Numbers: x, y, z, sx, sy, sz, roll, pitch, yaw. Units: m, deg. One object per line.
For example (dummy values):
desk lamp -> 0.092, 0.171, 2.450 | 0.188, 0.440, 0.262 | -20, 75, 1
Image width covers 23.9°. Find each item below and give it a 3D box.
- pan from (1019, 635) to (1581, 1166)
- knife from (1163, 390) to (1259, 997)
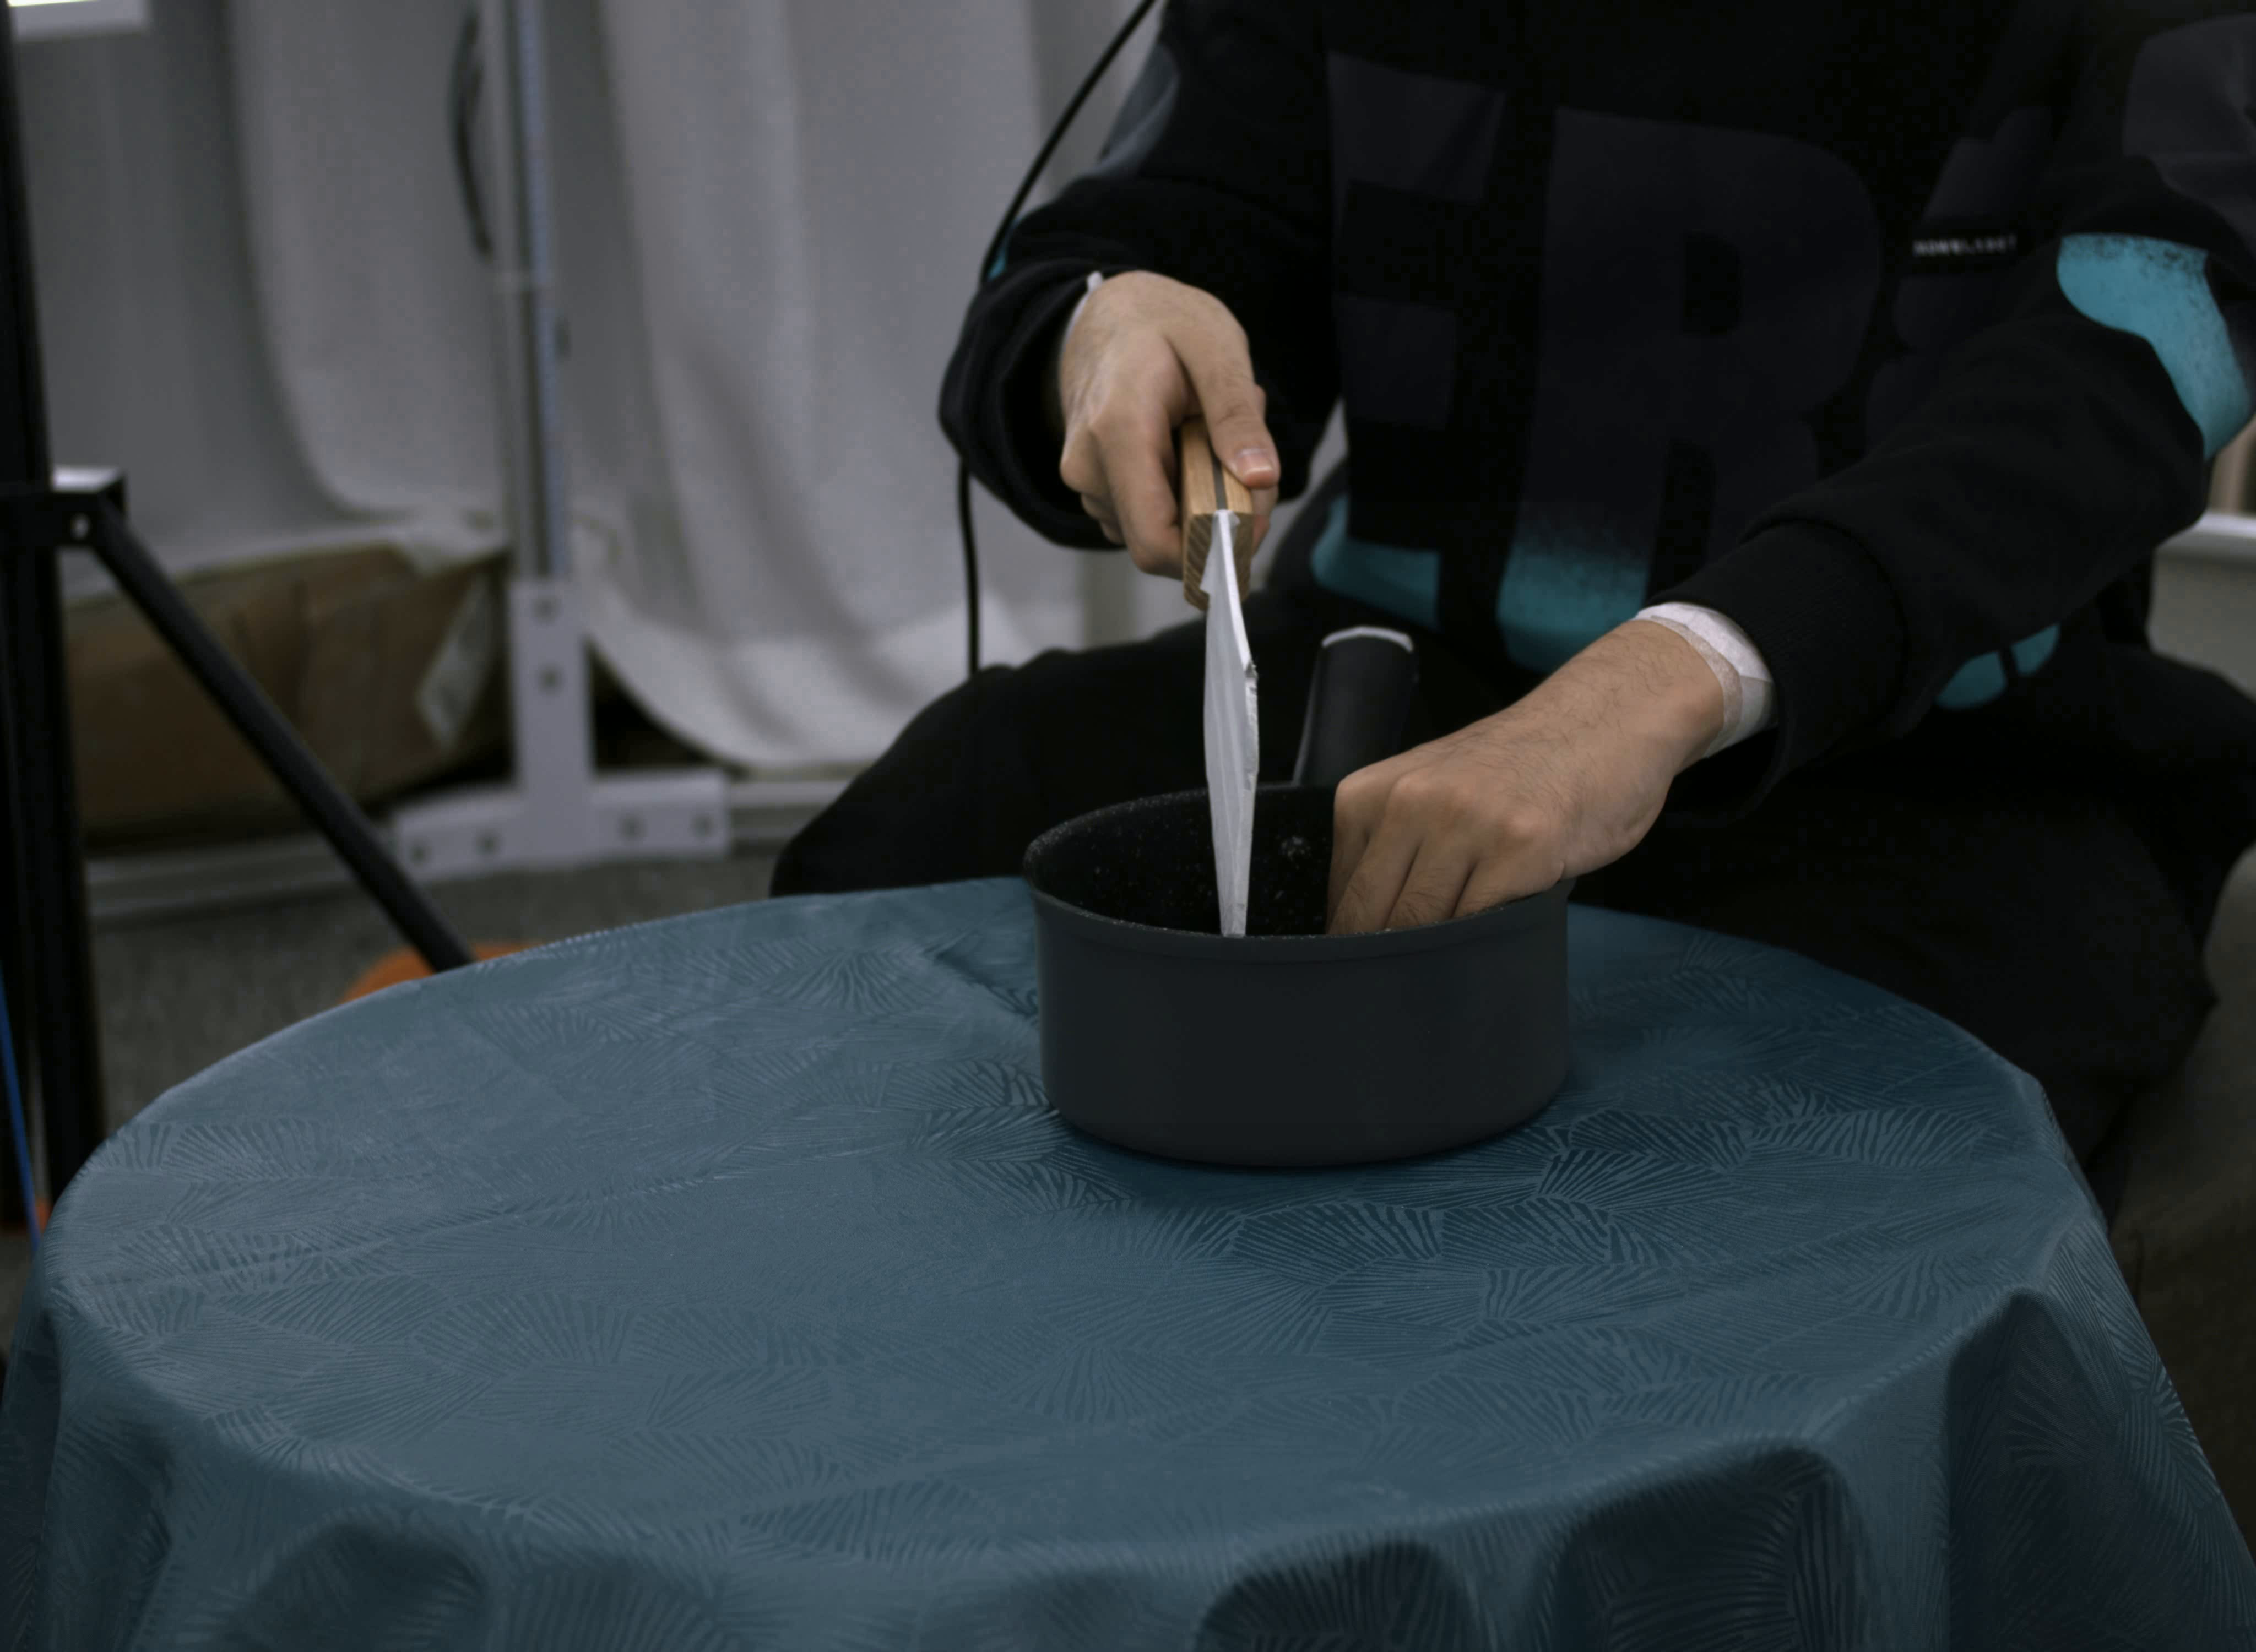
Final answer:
pan -> 0.066, 0.021, 1.702 | 0.173, 0.086, 0.327 | 3, 17, 11
knife -> 0.029, -0.060, 1.673 | 0.021, 0.114, 0.318 | 2, 29, -3
